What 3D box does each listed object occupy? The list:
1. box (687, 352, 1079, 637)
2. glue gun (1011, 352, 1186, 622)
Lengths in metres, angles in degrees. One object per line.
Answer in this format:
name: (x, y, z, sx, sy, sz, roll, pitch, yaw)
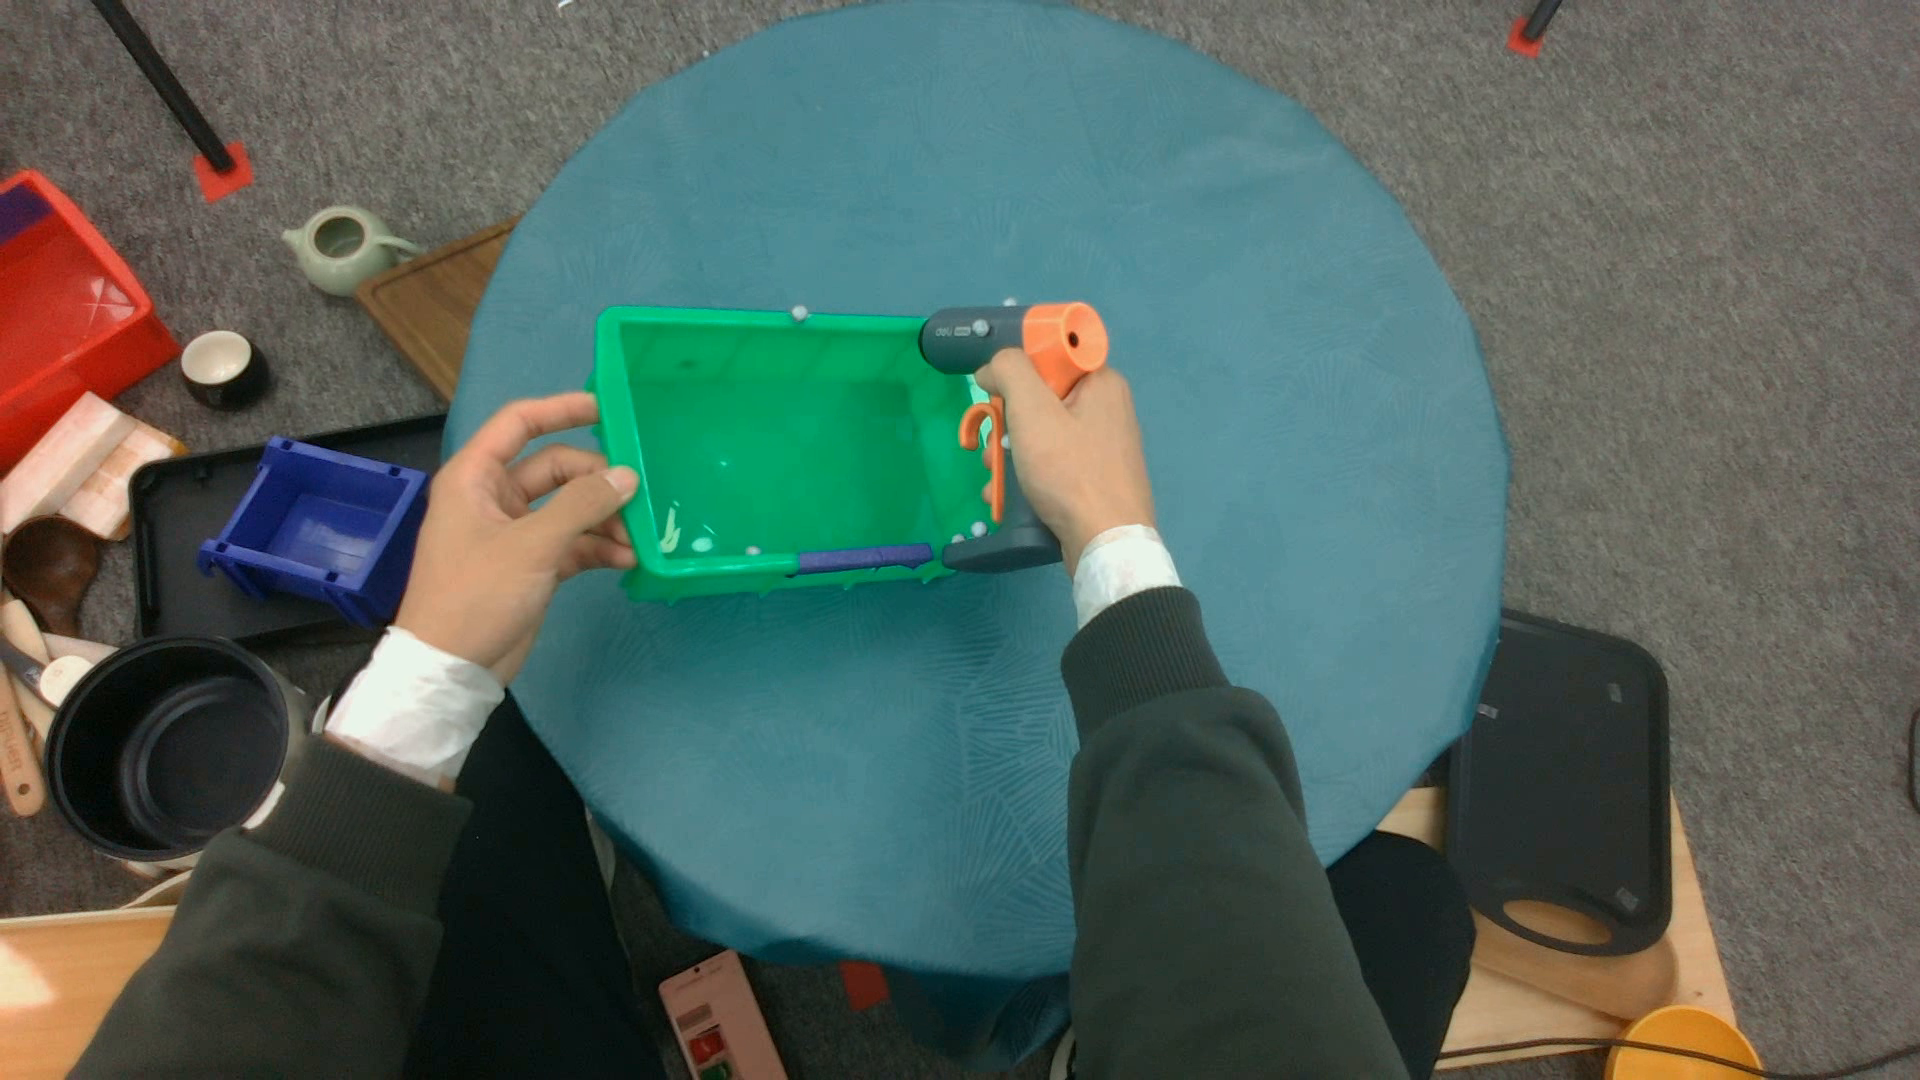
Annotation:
box: (-0.037, -0.021, 0.719, 0.211, 0.065, 0.139, -2, 69, -30)
glue gun: (0.063, -0.033, 0.690, 0.041, 0.117, 0.140, 12, 71, -32)
